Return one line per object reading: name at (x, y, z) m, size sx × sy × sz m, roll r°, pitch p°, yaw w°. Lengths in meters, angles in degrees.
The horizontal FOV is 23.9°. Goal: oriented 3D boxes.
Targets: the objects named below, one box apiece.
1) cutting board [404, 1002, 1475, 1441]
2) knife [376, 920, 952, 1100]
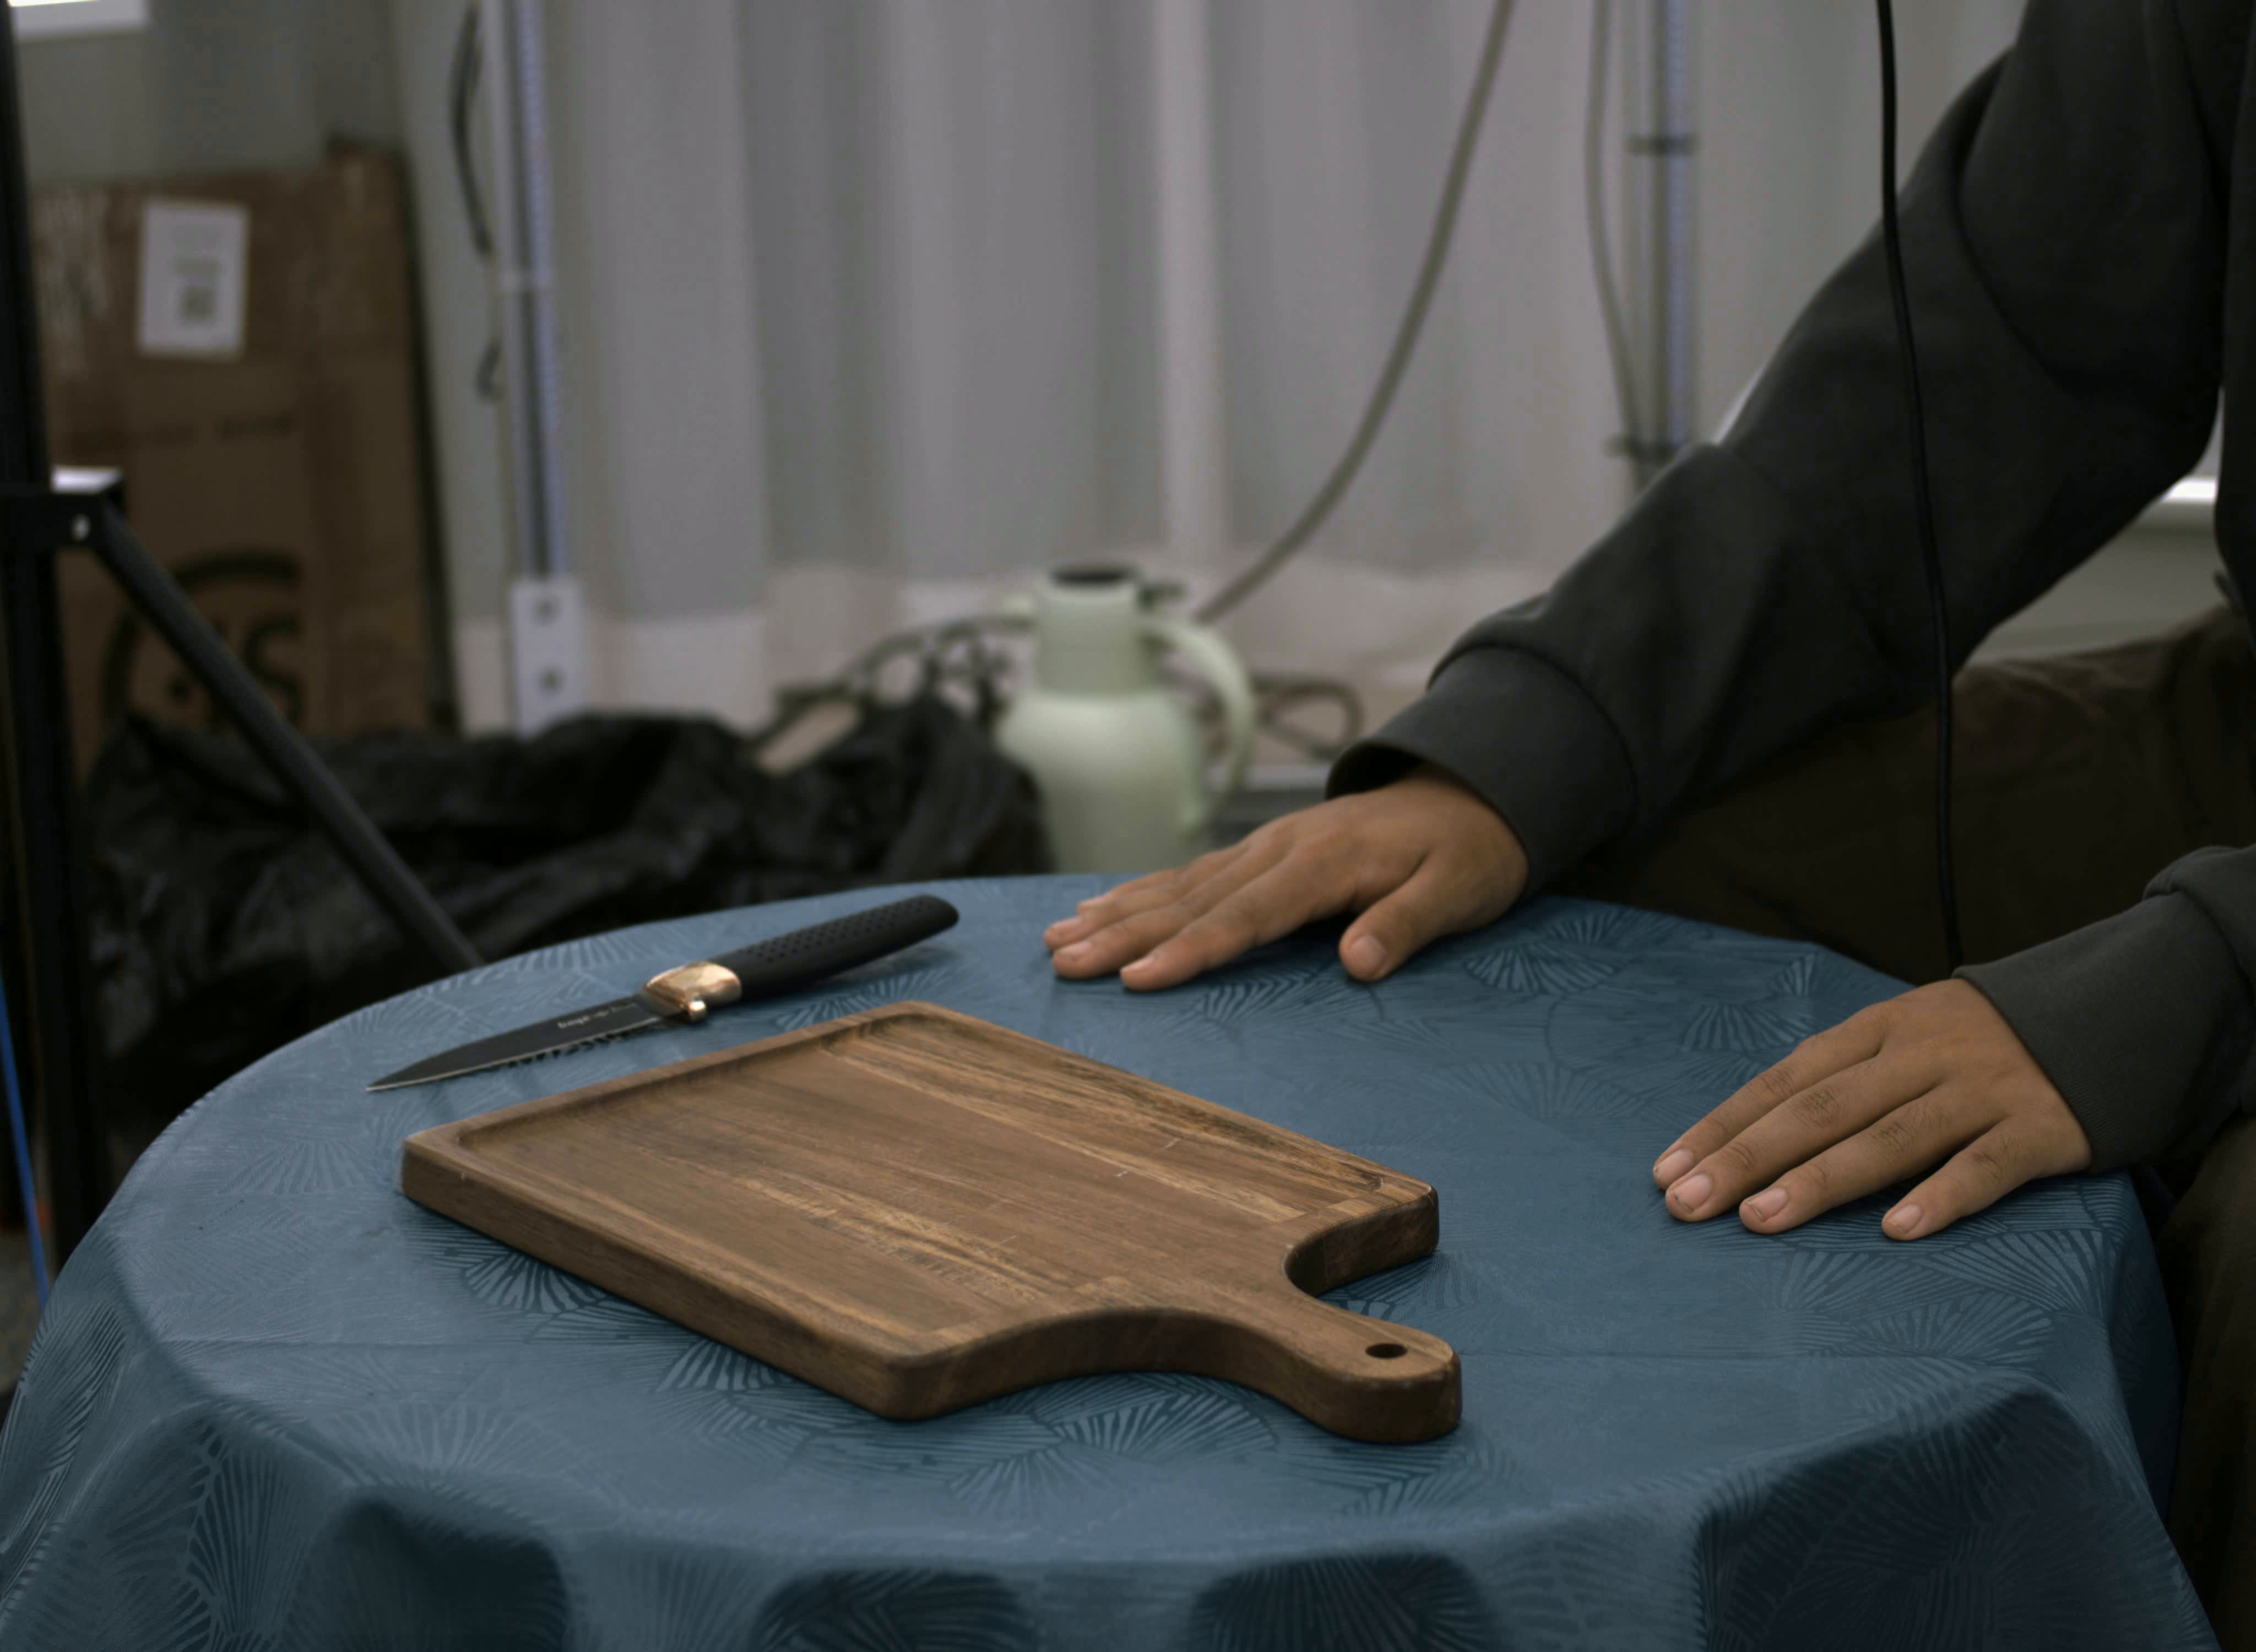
cutting board at (-0.030, 0.115, 1.497) m, size 0.196 × 0.023 × 0.360 m, roll -15°, pitch 20°, yaw -36°
knife at (-0.148, 0.060, 1.730) m, size 0.220 × 0.017 × 0.027 m, roll -14°, pitch 25°, yaw -33°
